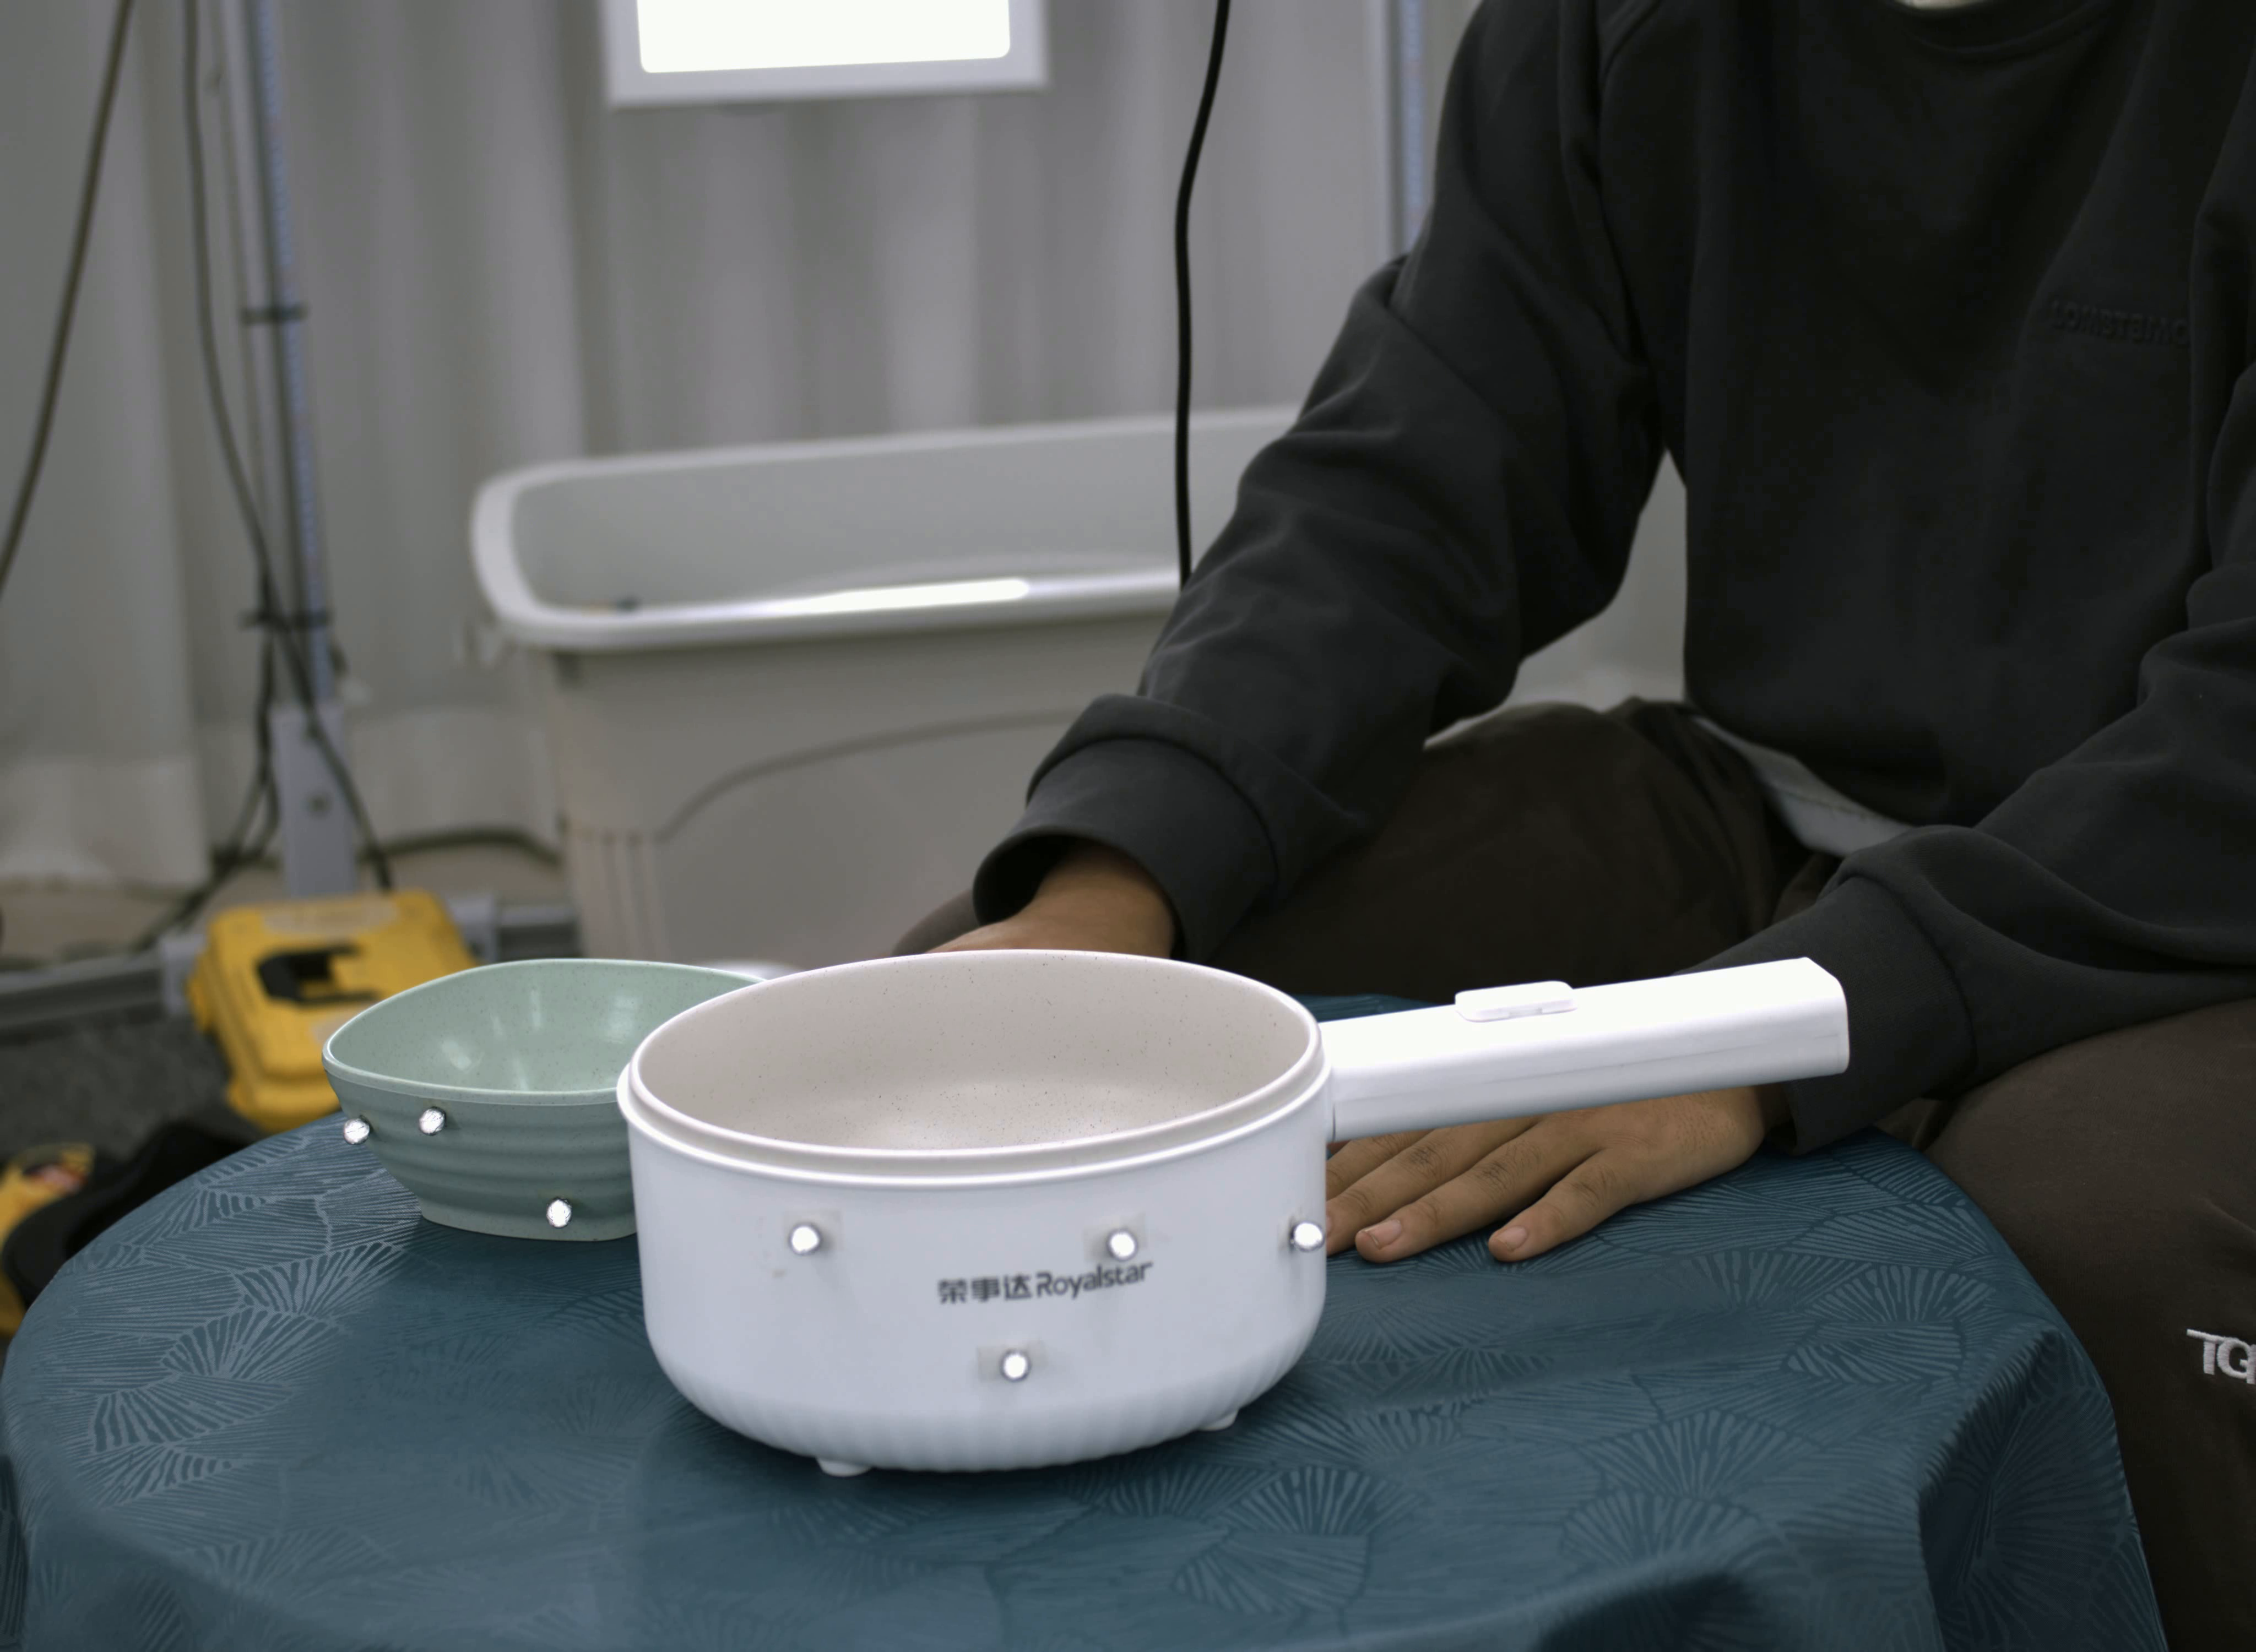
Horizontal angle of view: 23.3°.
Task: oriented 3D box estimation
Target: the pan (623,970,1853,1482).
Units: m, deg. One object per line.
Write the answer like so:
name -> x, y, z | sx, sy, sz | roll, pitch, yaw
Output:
pan -> 0.034, 0.108, 1.563 | 0.353, 0.102, 0.202 | -5, 13, -13

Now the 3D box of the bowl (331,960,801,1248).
bowl -> -0.175, 0.091, 1.730 | 0.151, 0.058, 0.152 | -4, 16, 1
